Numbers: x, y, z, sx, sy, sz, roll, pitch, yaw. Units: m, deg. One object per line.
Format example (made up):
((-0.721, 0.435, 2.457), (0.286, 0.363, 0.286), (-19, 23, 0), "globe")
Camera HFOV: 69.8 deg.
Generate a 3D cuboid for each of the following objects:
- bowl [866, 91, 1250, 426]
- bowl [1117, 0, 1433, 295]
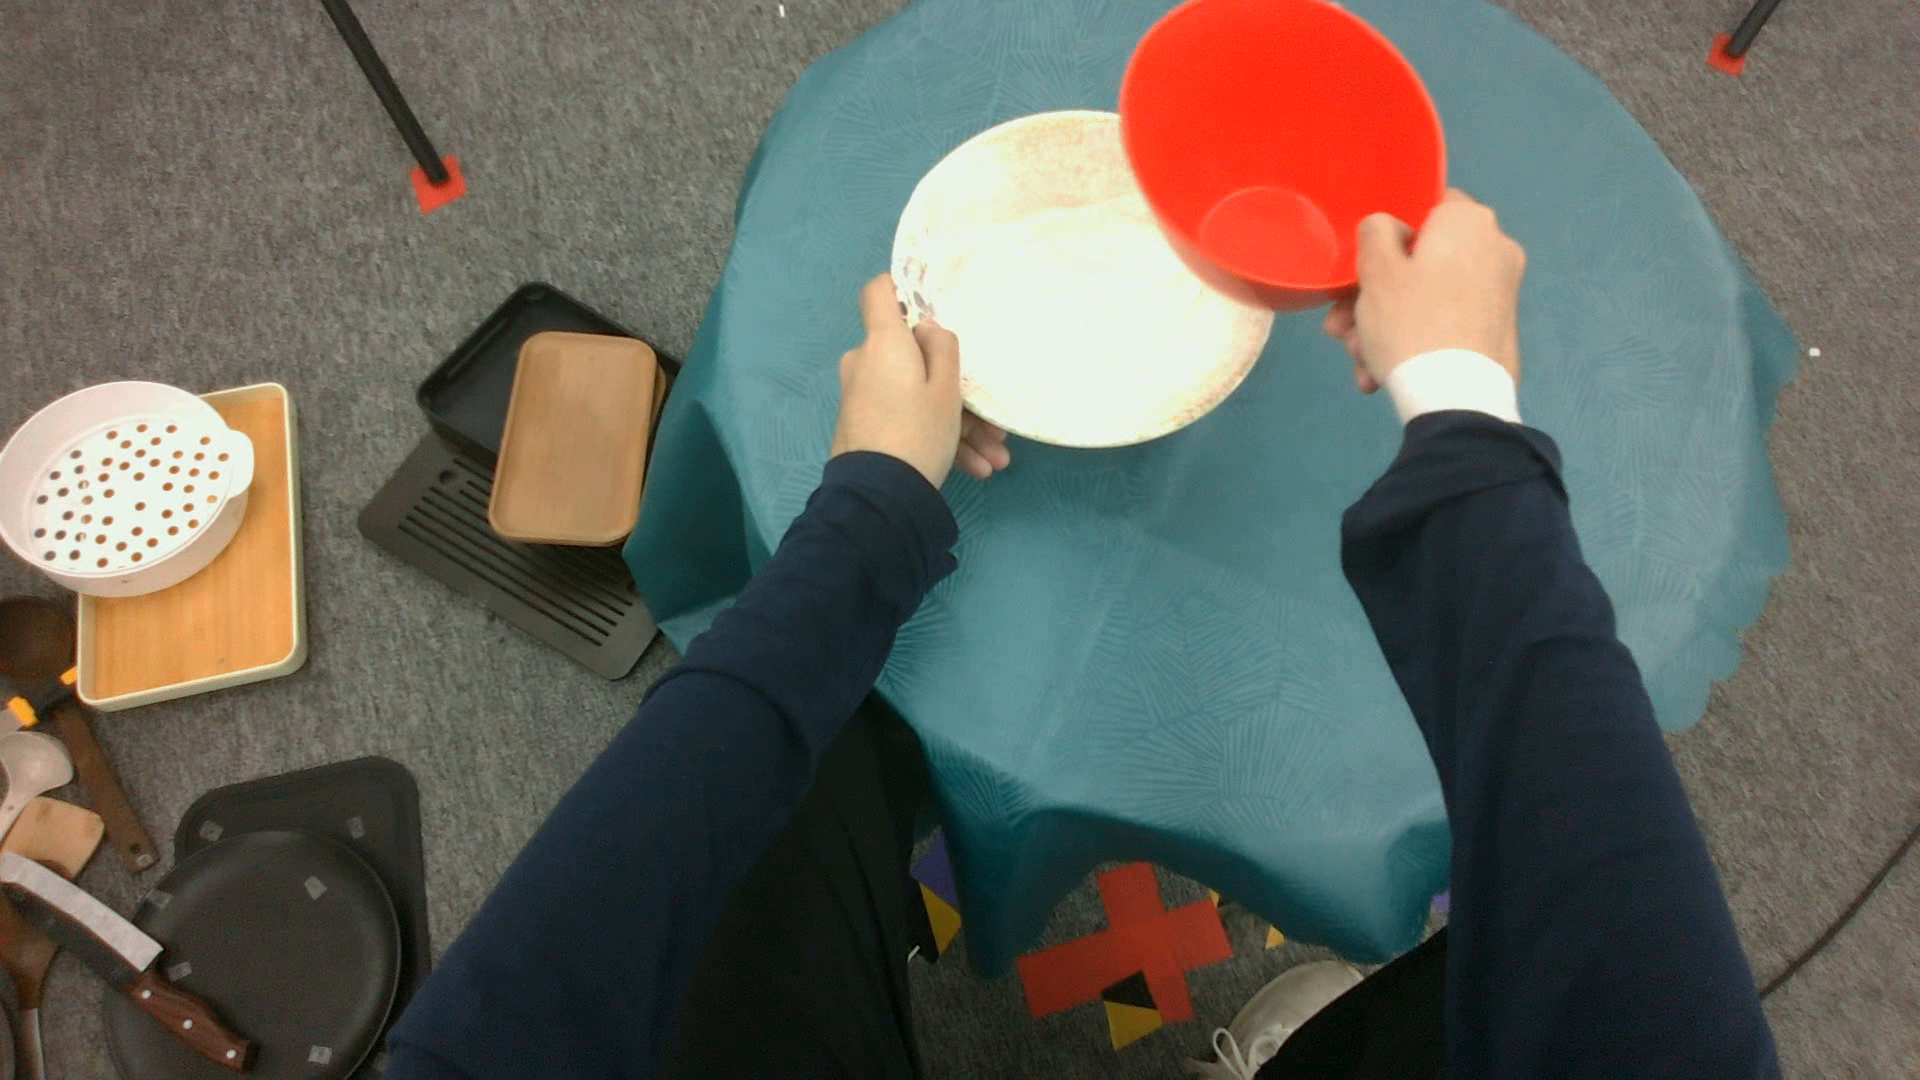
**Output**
((0.052, -0.140, 0.757), (0.204, 0.077, 0.204), (0, 69, -1), "bowl")
((0.140, -0.176, 0.651), (0.148, 0.104, 0.148), (1, 73, -2), "bowl")
